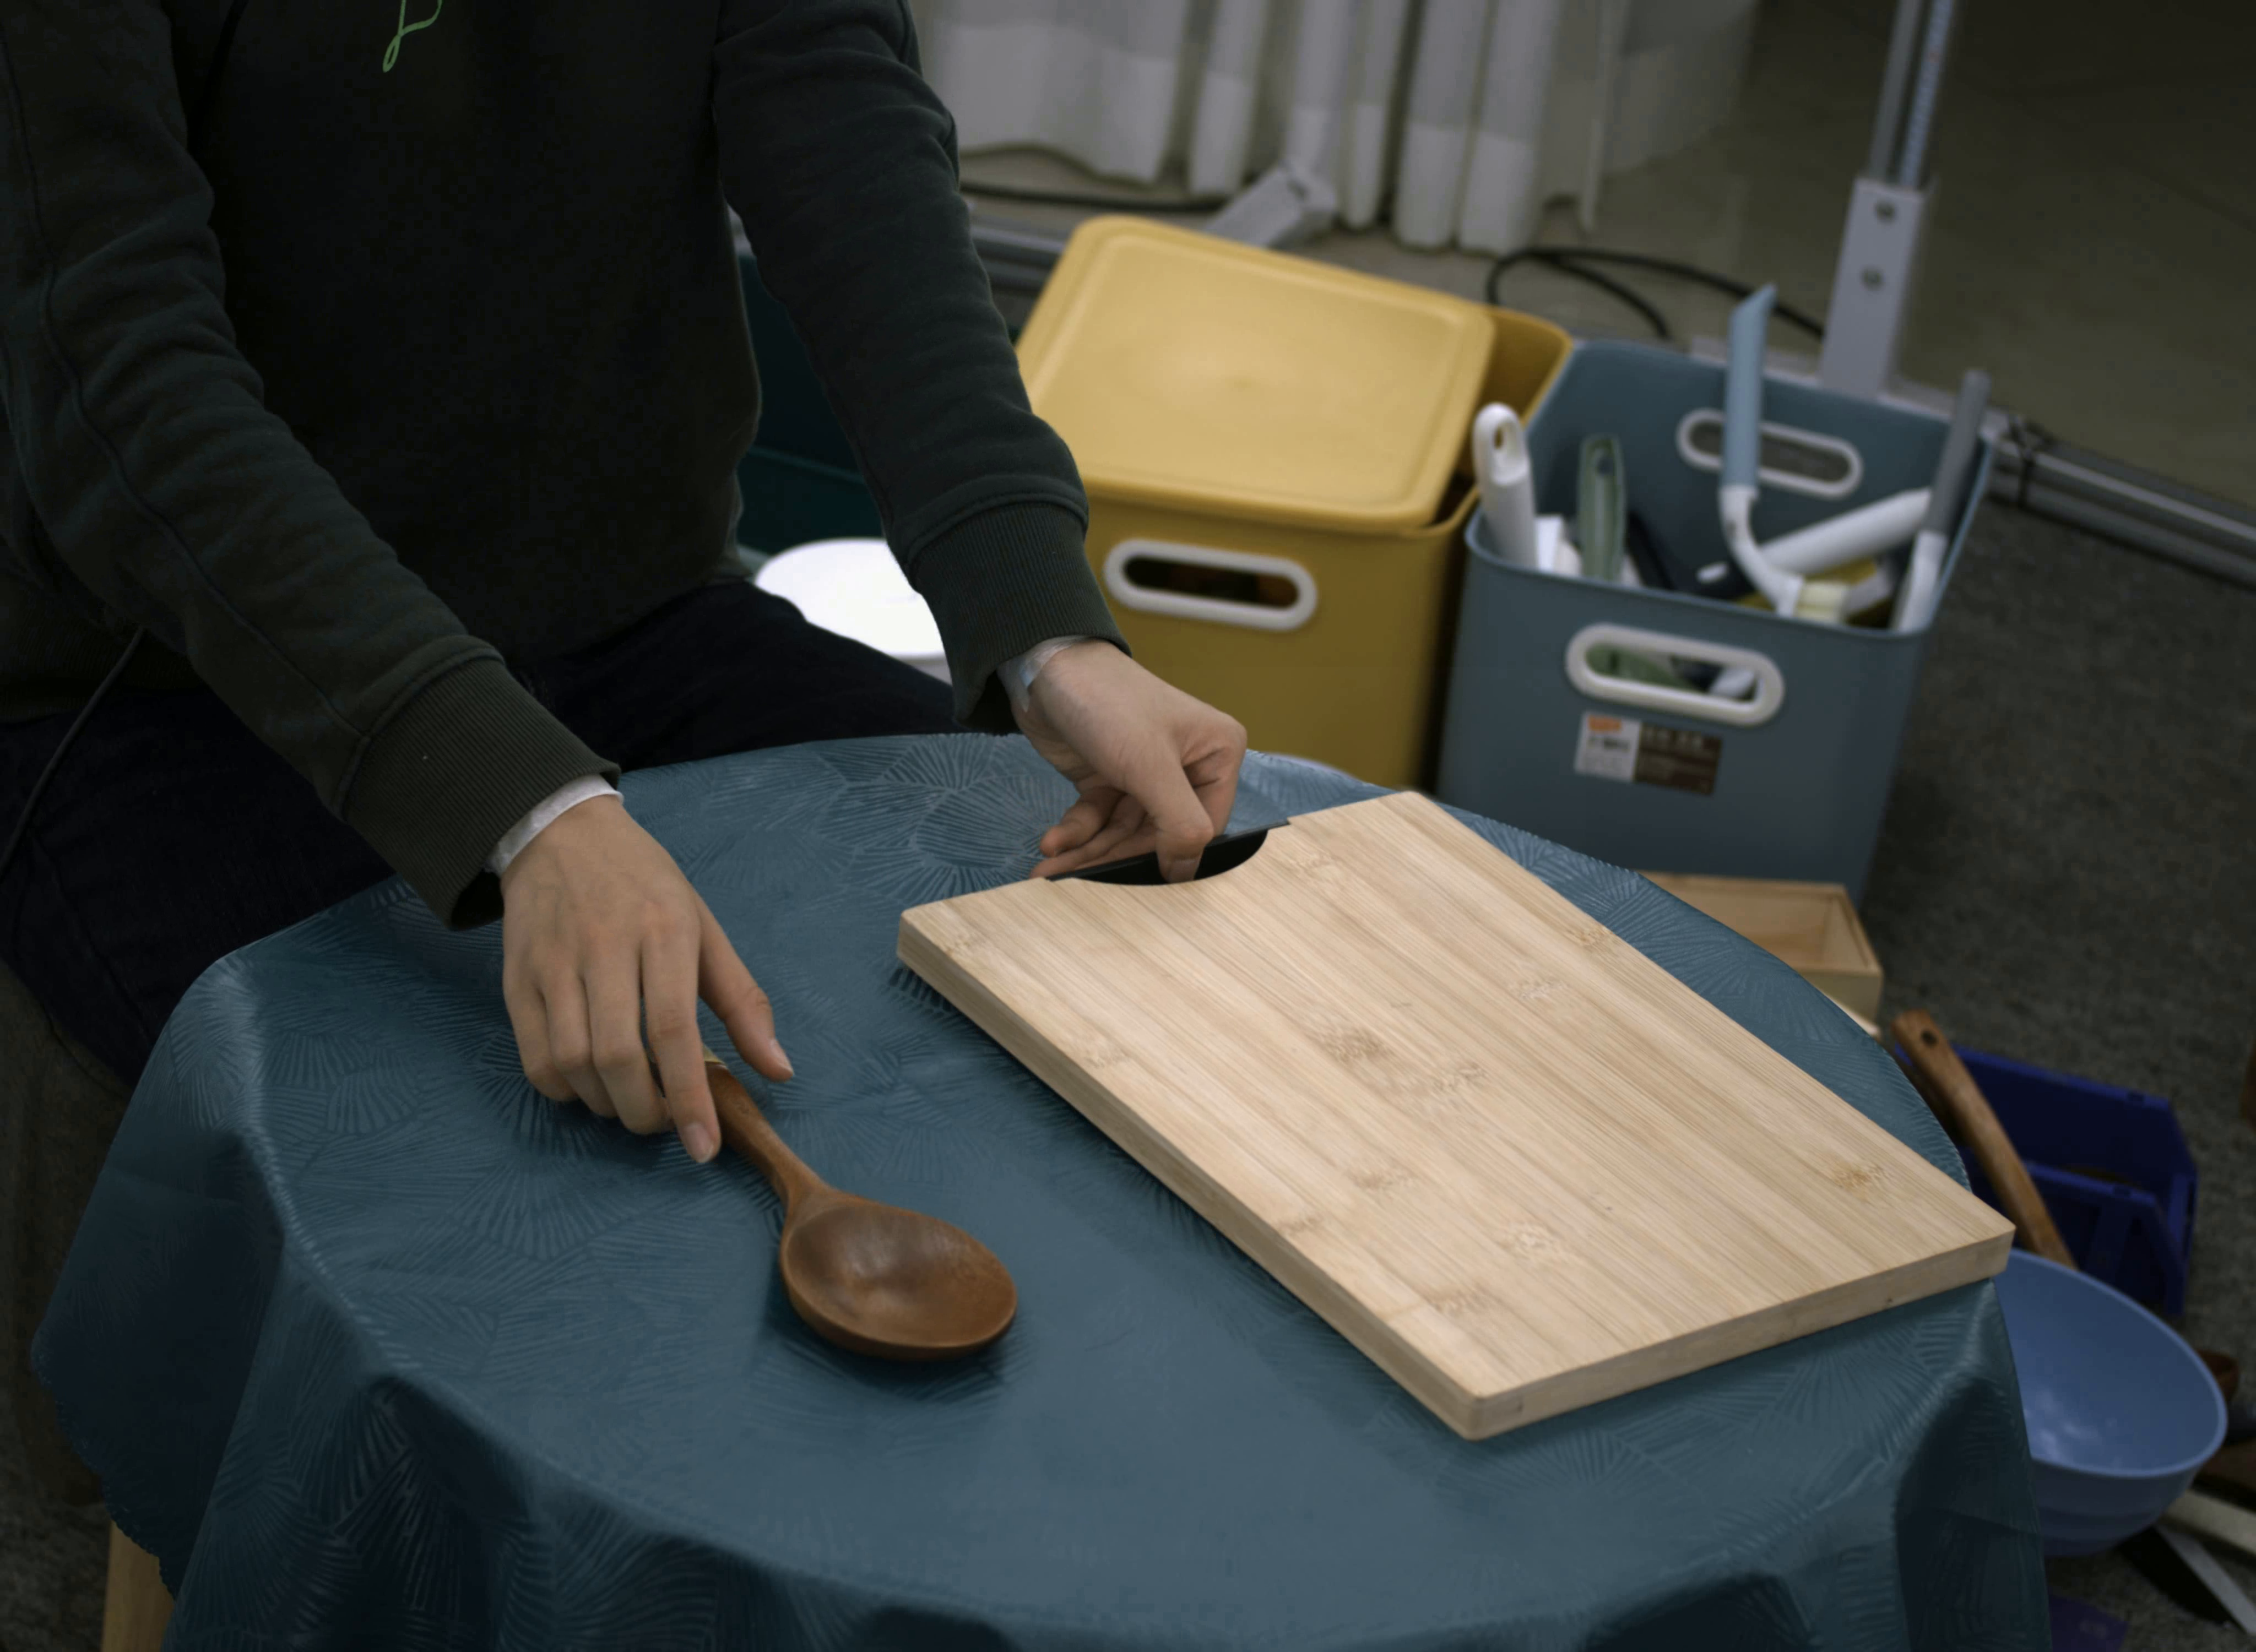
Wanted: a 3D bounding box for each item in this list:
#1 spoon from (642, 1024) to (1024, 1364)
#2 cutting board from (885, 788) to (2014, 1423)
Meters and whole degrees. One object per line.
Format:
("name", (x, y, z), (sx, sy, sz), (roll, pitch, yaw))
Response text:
("spoon", (-0.106, 0.122, 1.760), (0.075, 0.017, 0.218), (-11, 32, -29))
("cutting board", (0.106, 0.090, 1.868), (0.249, 0.023, 0.352), (-13, 33, -34))
